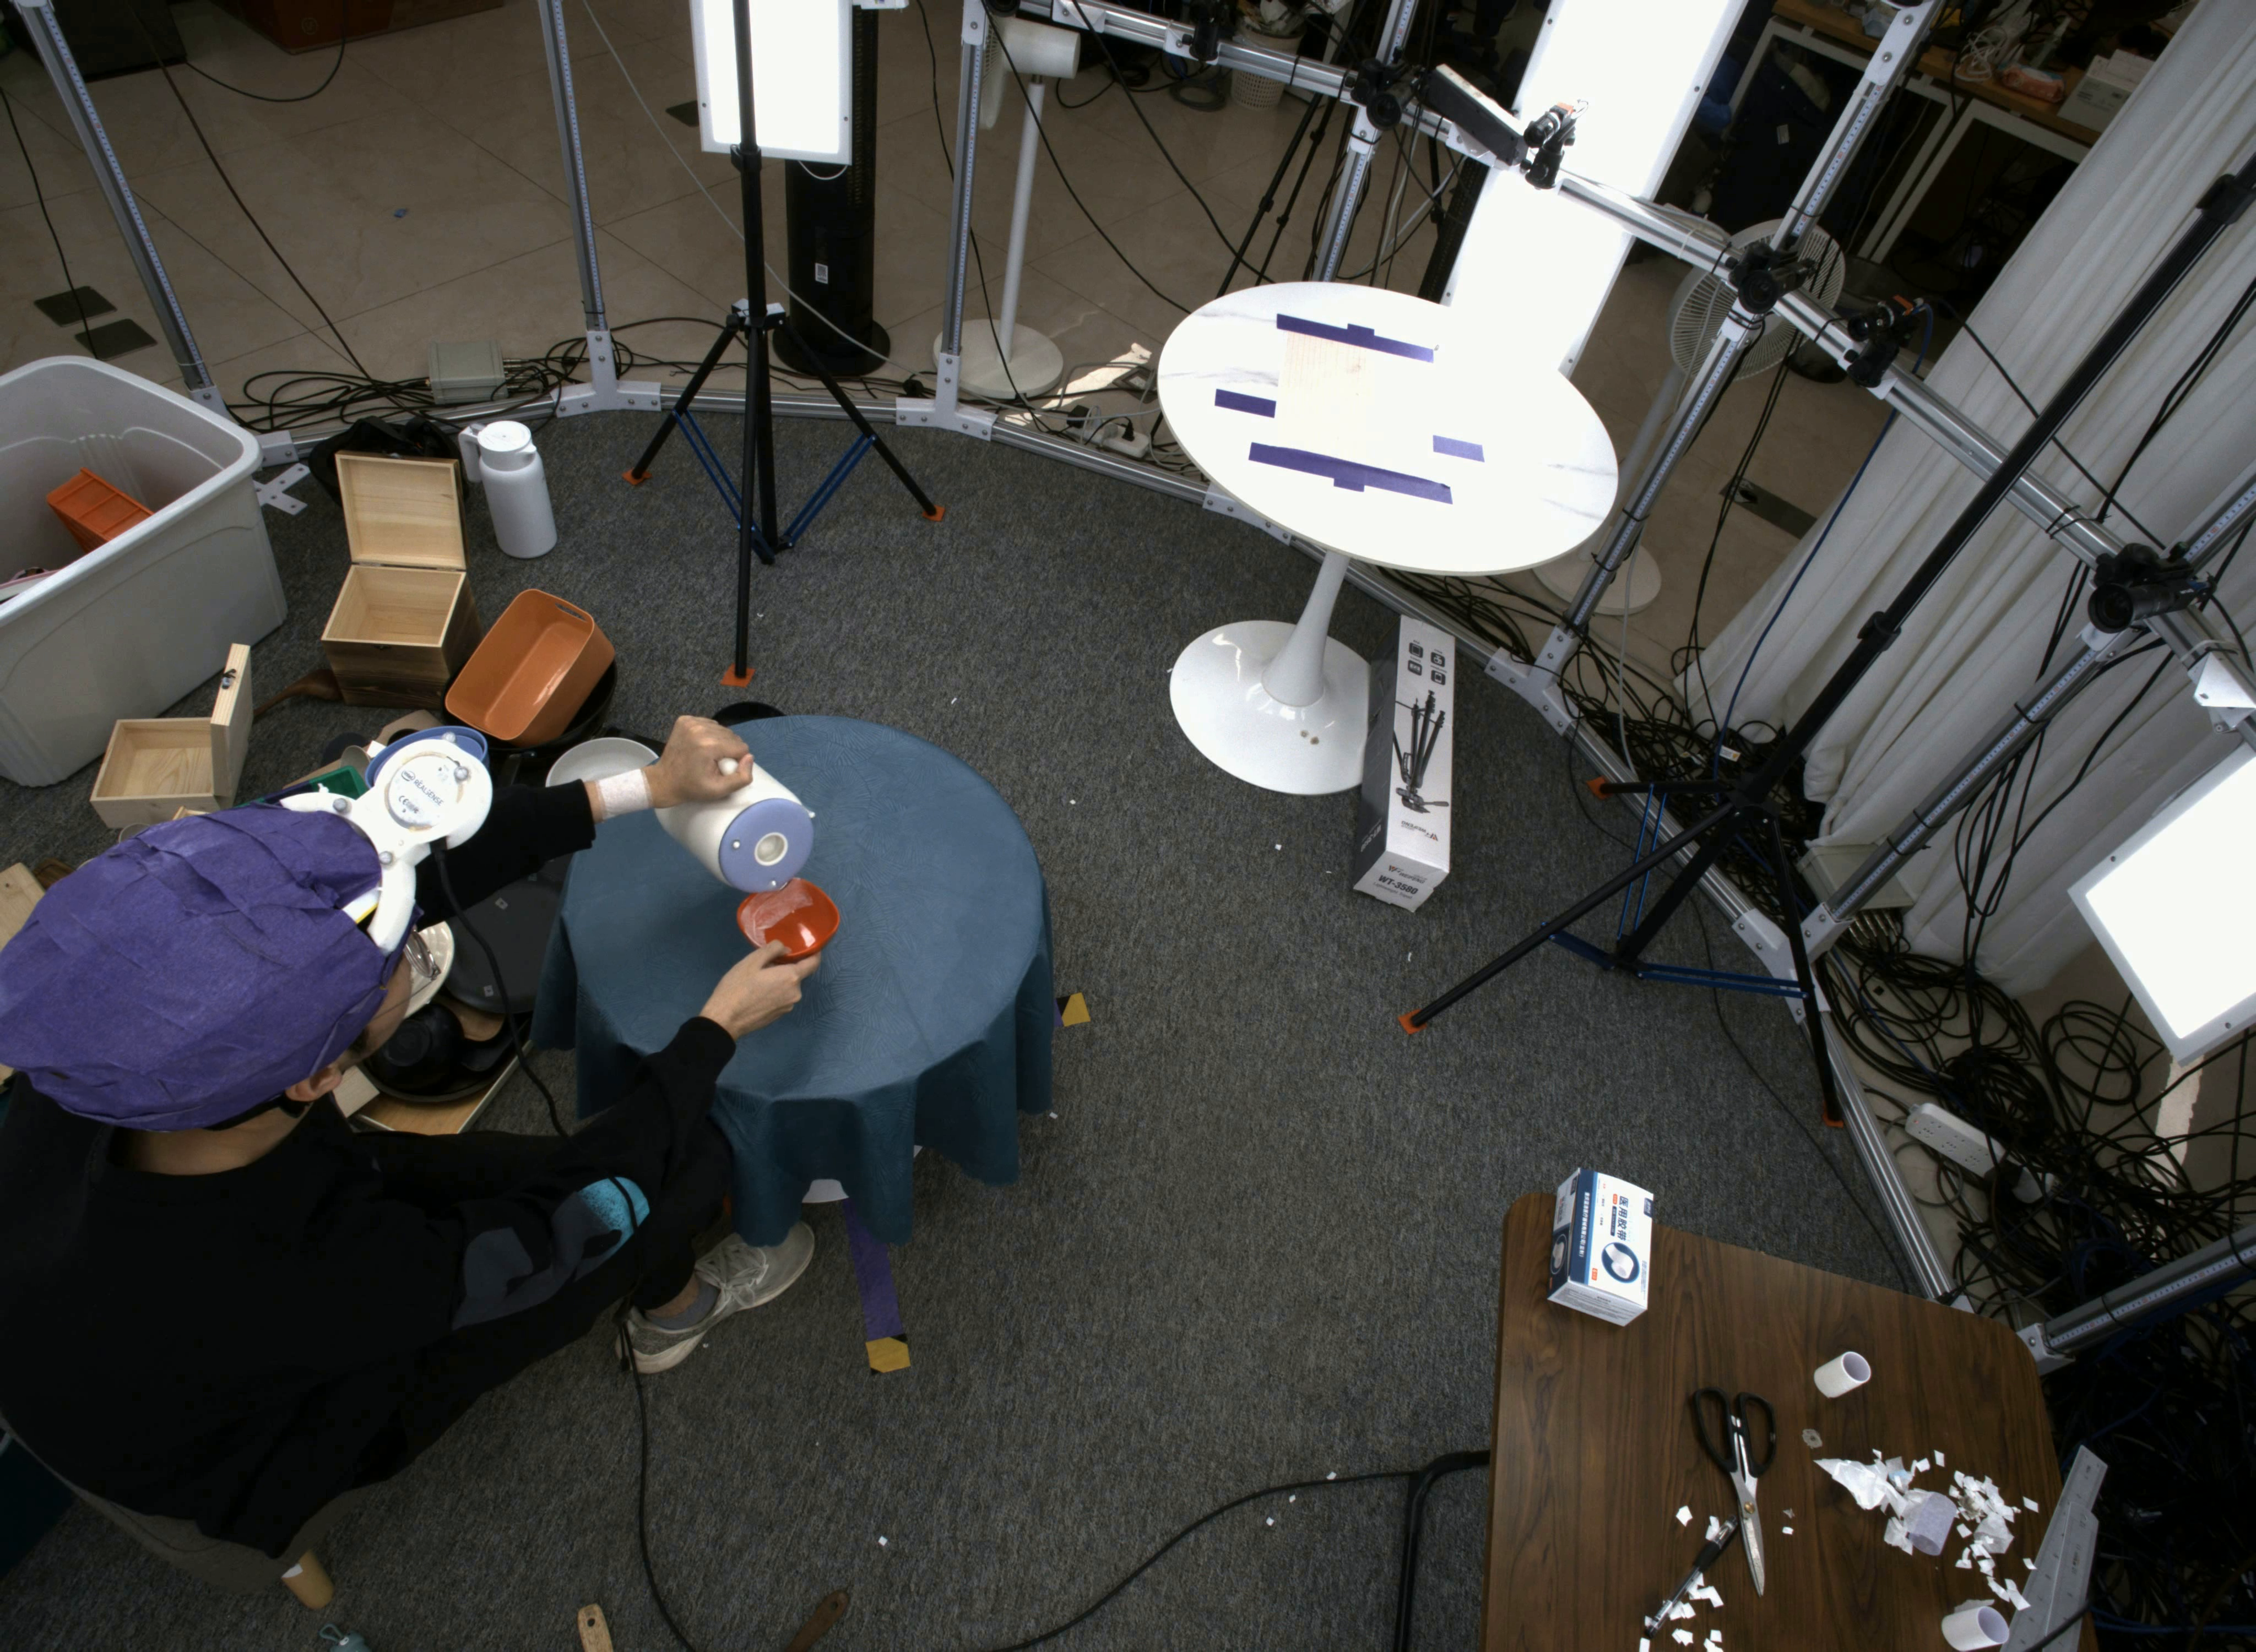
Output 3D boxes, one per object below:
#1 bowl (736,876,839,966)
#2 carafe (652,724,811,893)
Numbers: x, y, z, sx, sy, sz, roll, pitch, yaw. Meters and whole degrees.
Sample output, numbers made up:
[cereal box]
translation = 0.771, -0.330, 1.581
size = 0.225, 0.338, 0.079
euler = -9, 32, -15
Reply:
[bowl]
translation = -0.405, 0.119, 1.540
size = 0.119, 0.052, 0.116
euler = 11, 46, -10
[carafe]
translation = -0.472, -0.032, 1.506
size = 0.132, 0.198, 0.175
euler = -37, 46, -27
